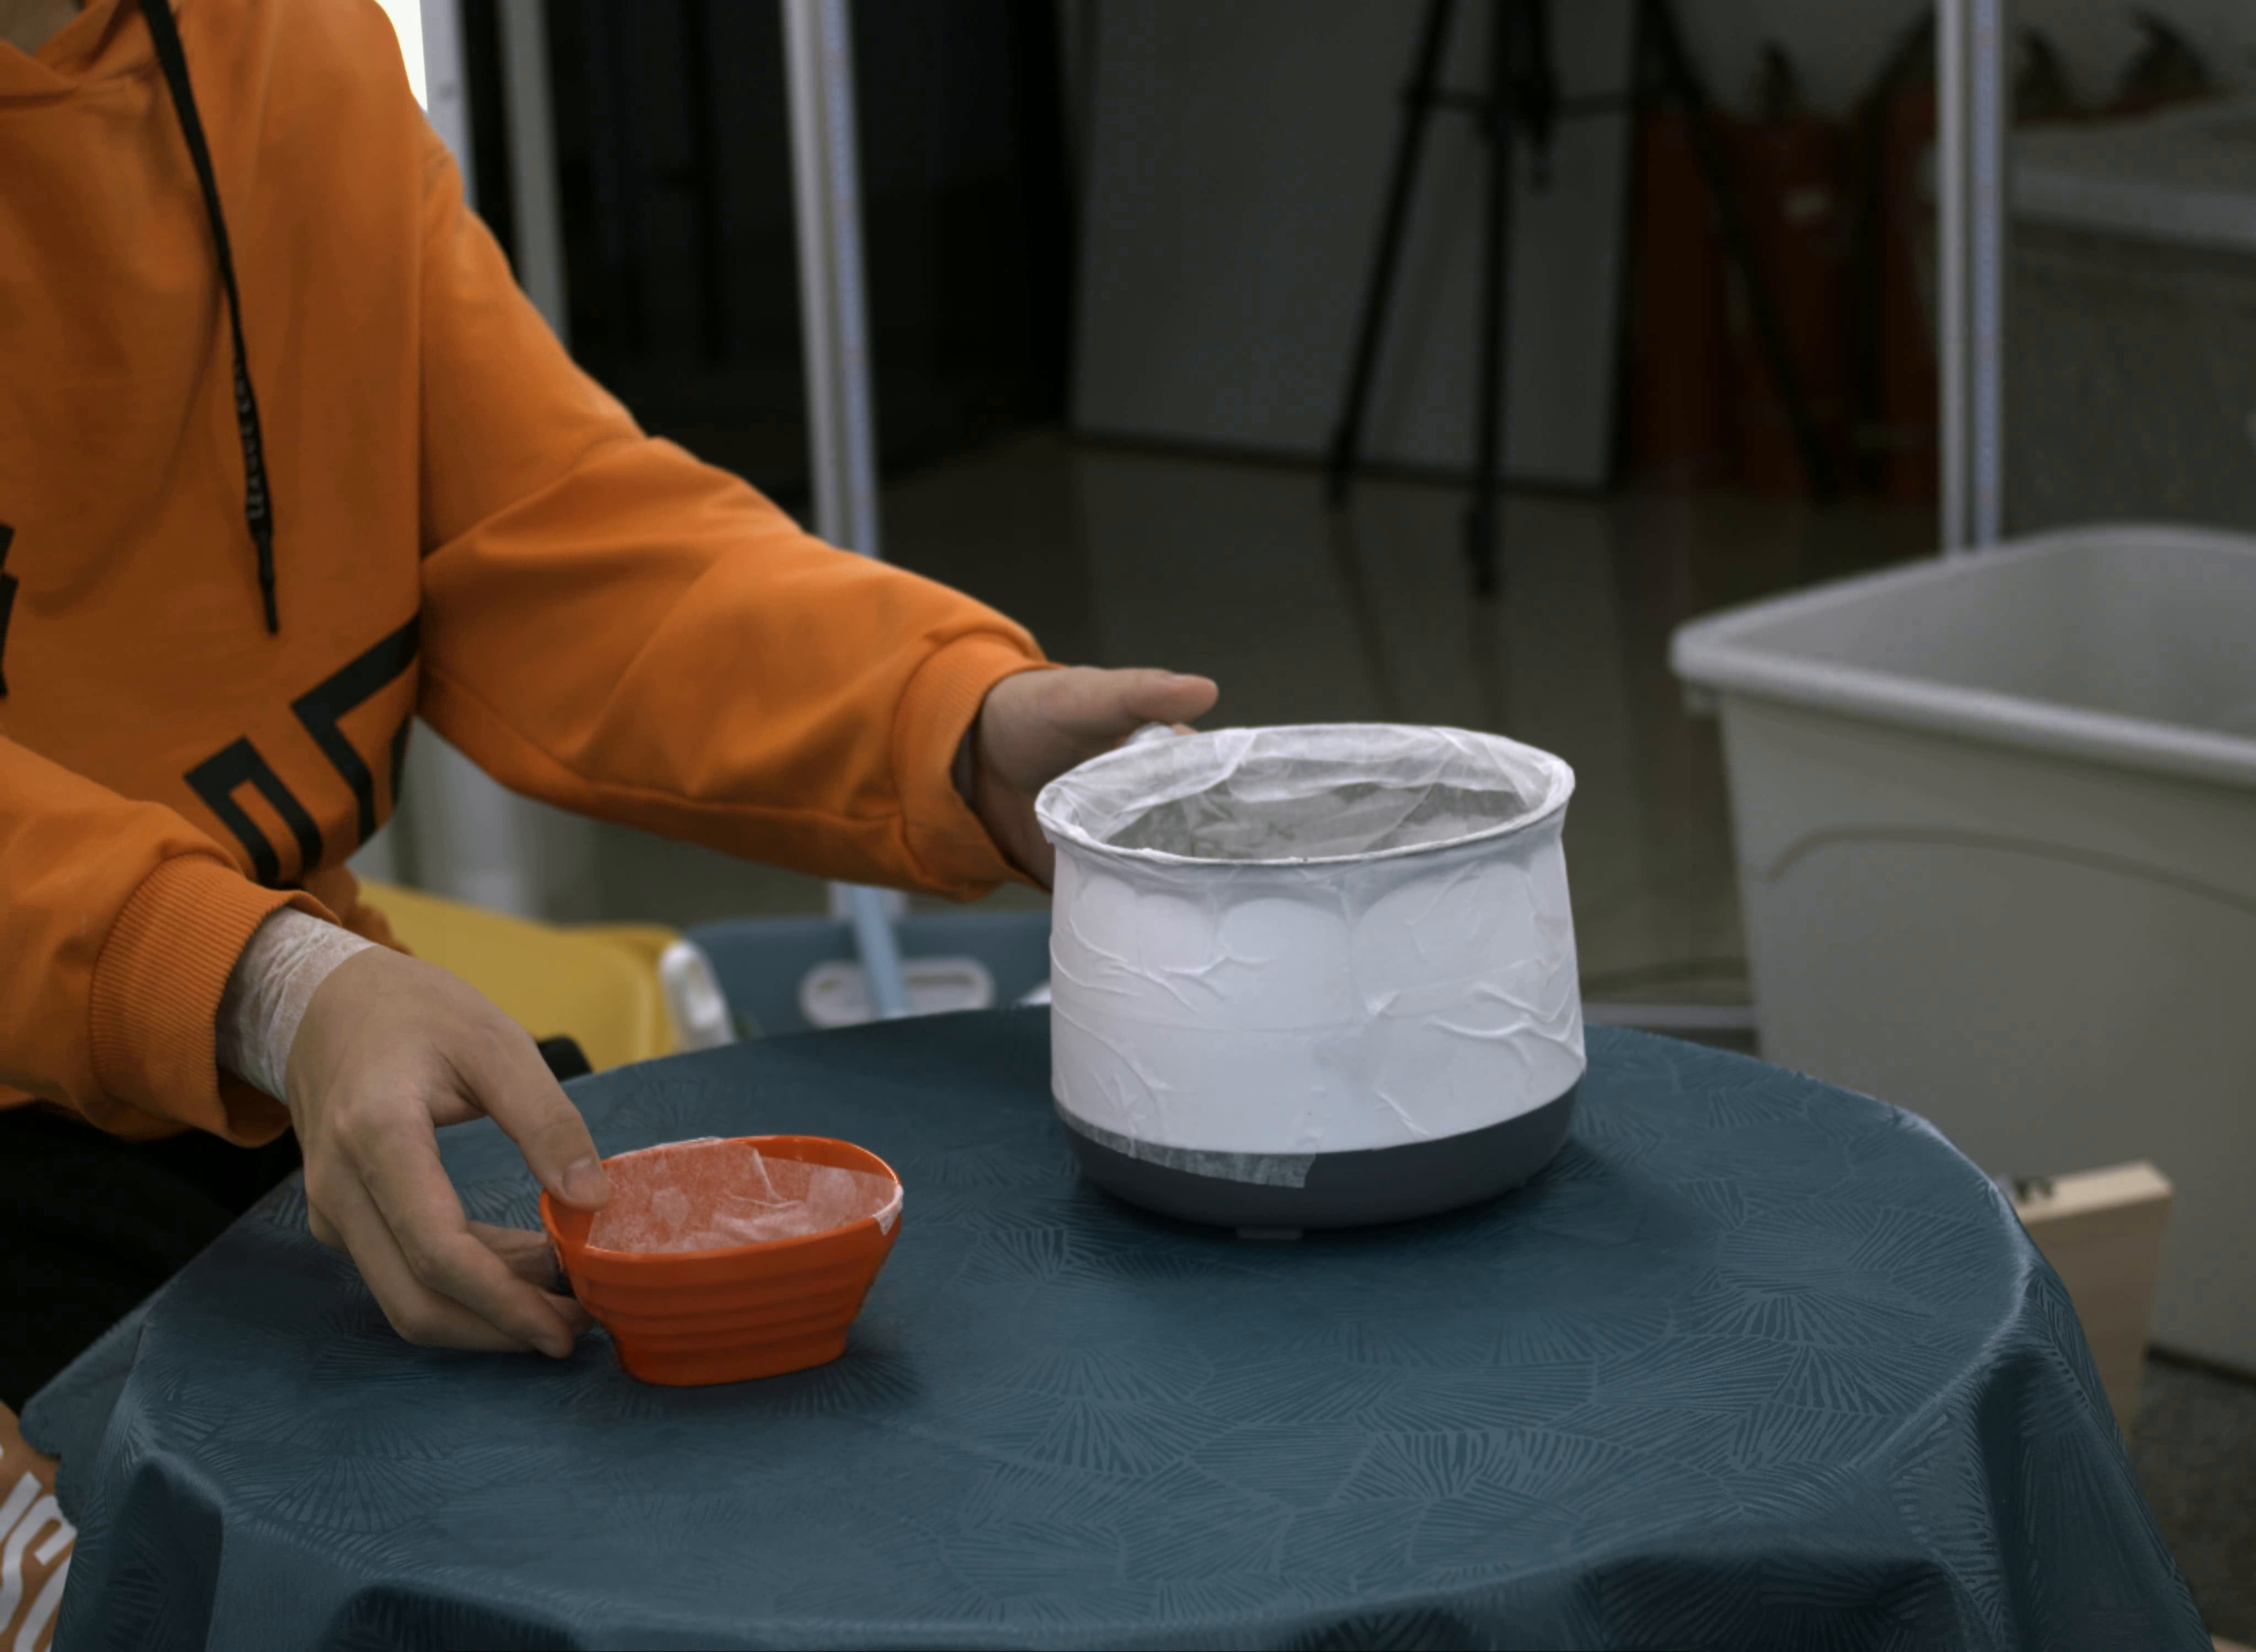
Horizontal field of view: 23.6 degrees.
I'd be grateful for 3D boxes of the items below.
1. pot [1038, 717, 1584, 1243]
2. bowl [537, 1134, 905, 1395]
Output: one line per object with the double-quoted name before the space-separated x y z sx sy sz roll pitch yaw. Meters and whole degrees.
"pot" 0.047 0.044 1.783 0.175 0.138 0.236 -11 15 -28
"bowl" -0.122 0.135 1.643 0.117 0.052 0.119 -5 15 0
